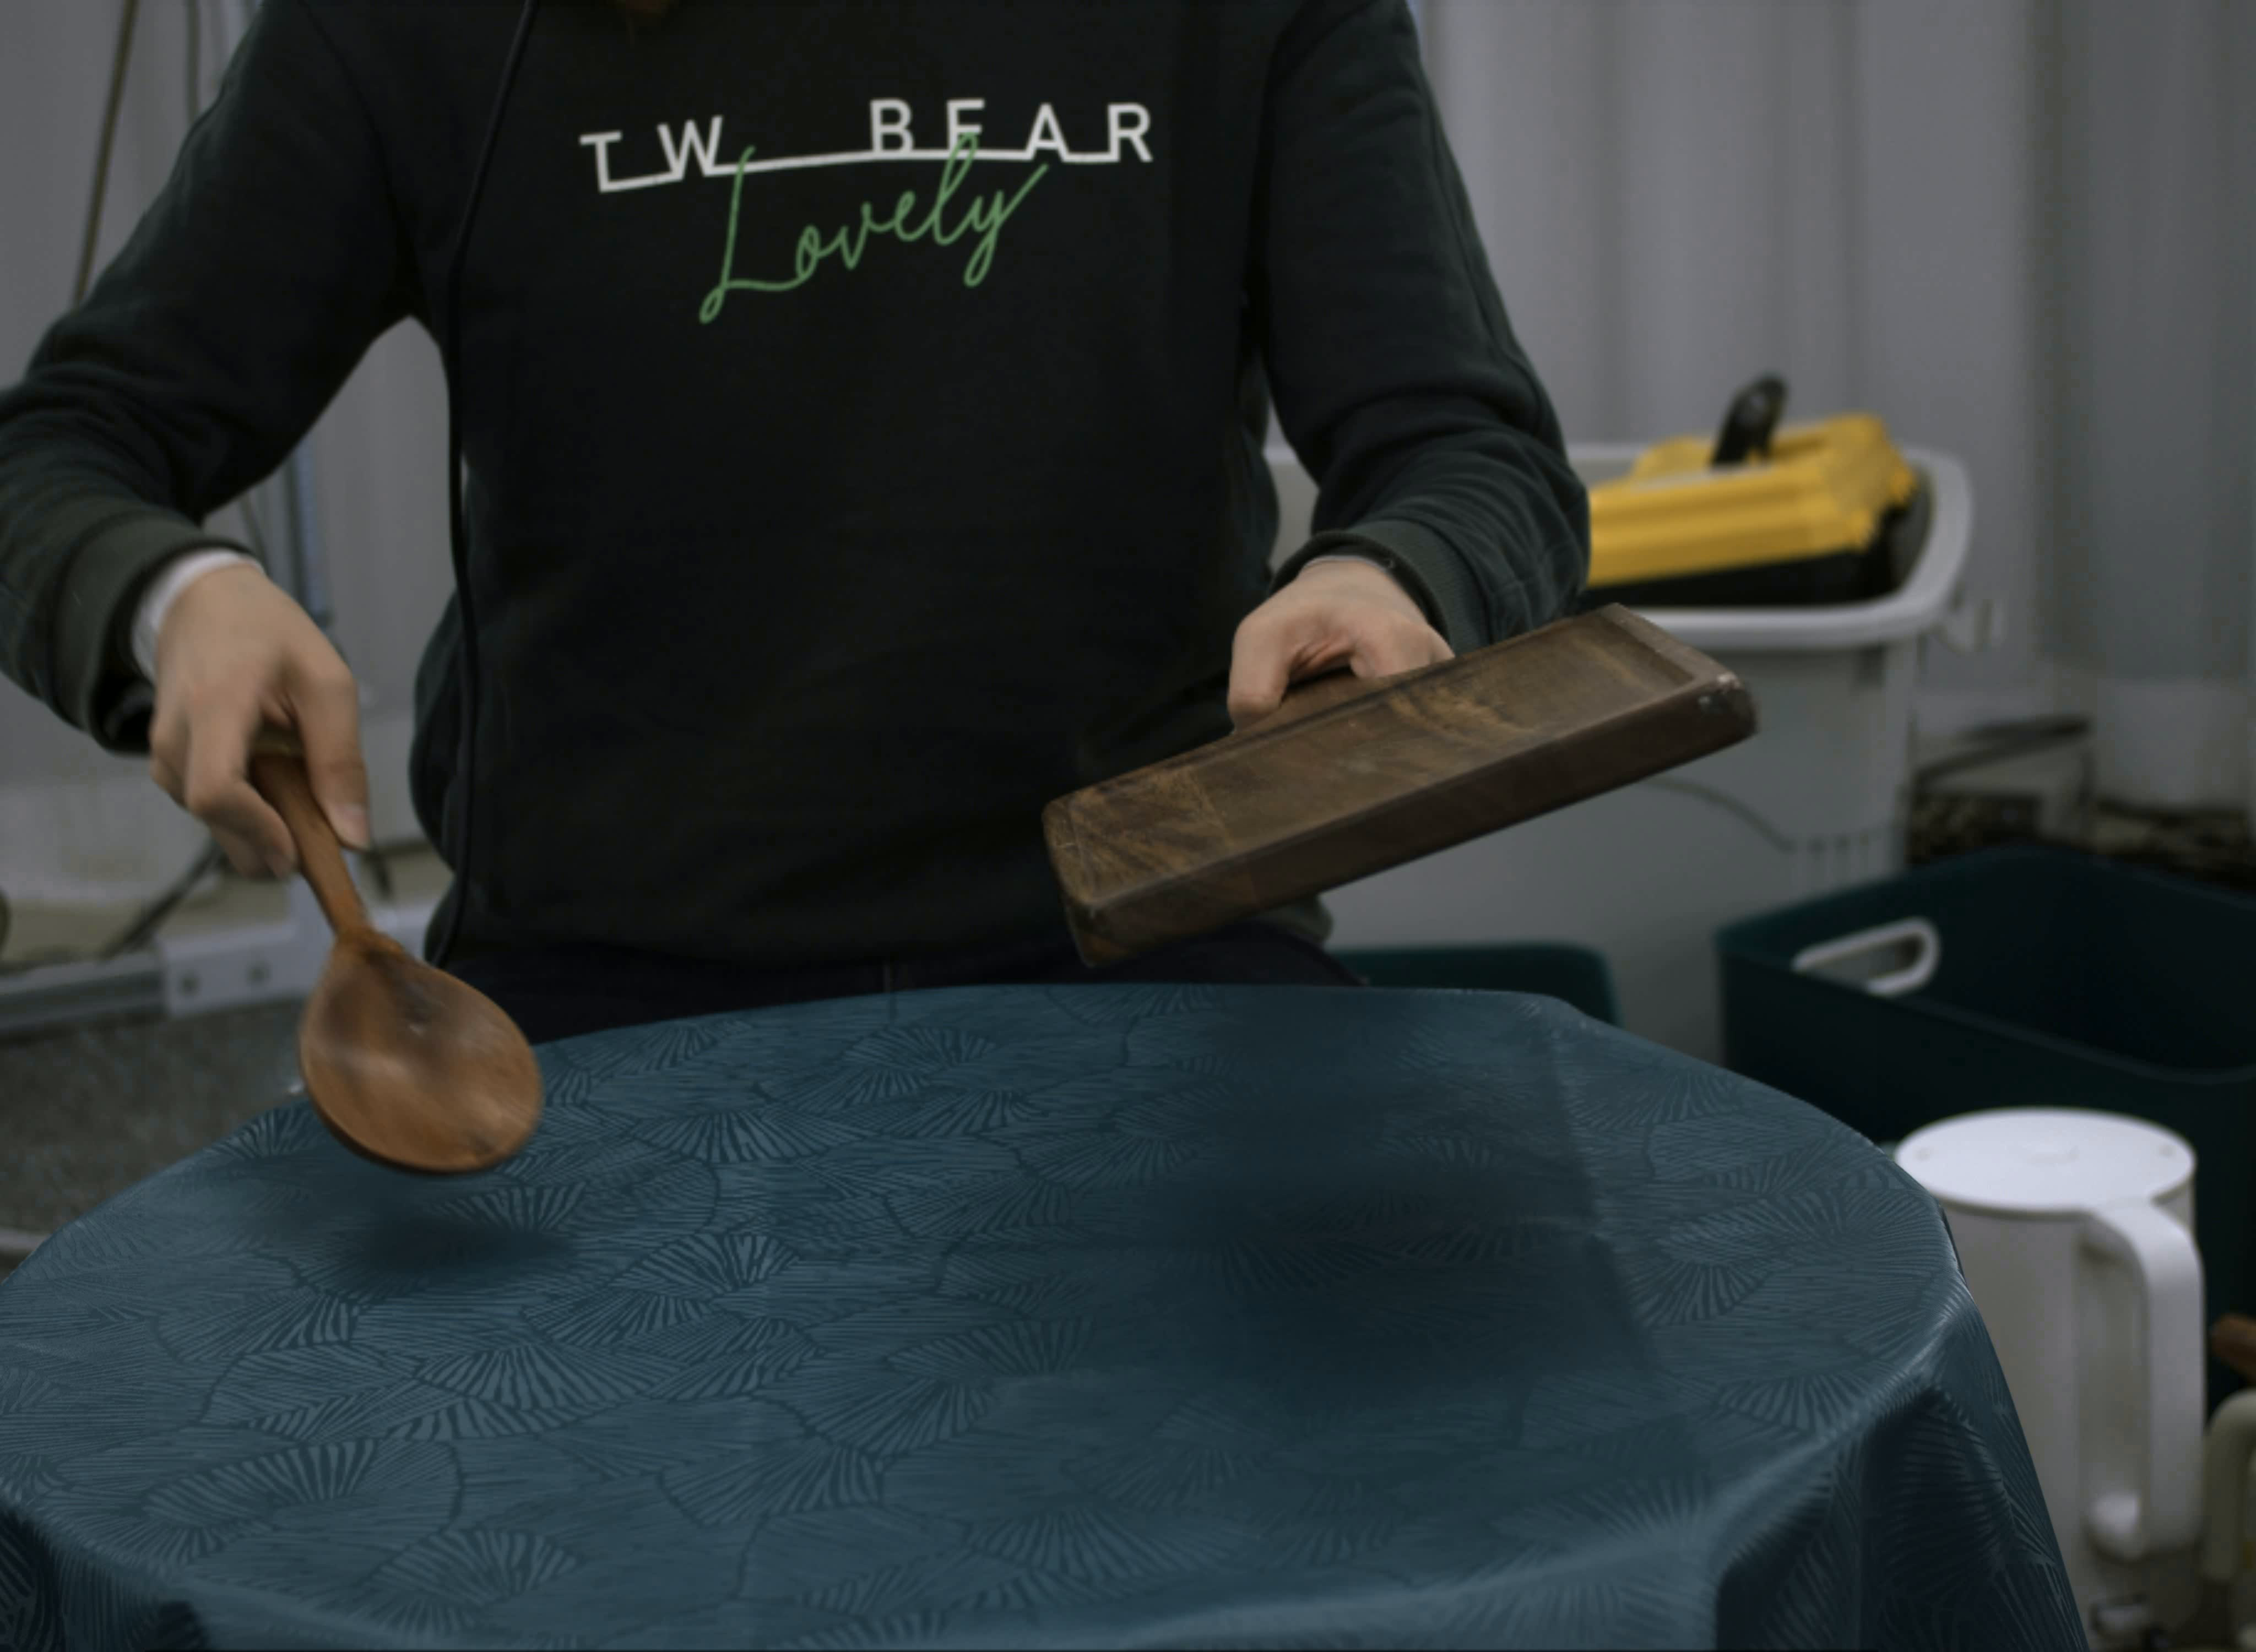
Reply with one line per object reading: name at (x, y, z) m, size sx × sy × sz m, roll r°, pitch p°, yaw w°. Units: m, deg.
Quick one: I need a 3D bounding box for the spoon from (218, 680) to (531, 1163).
spoon at (-0.248, 0.030, 1.736) m, size 0.075 × 0.017 × 0.219 m, roll -7°, pitch 46°, yaw -25°

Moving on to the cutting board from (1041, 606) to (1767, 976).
cutting board at (0.071, -0.020, 1.657) m, size 0.200 × 0.023 × 0.353 m, roll -20°, pitch 7°, yaw 0°
